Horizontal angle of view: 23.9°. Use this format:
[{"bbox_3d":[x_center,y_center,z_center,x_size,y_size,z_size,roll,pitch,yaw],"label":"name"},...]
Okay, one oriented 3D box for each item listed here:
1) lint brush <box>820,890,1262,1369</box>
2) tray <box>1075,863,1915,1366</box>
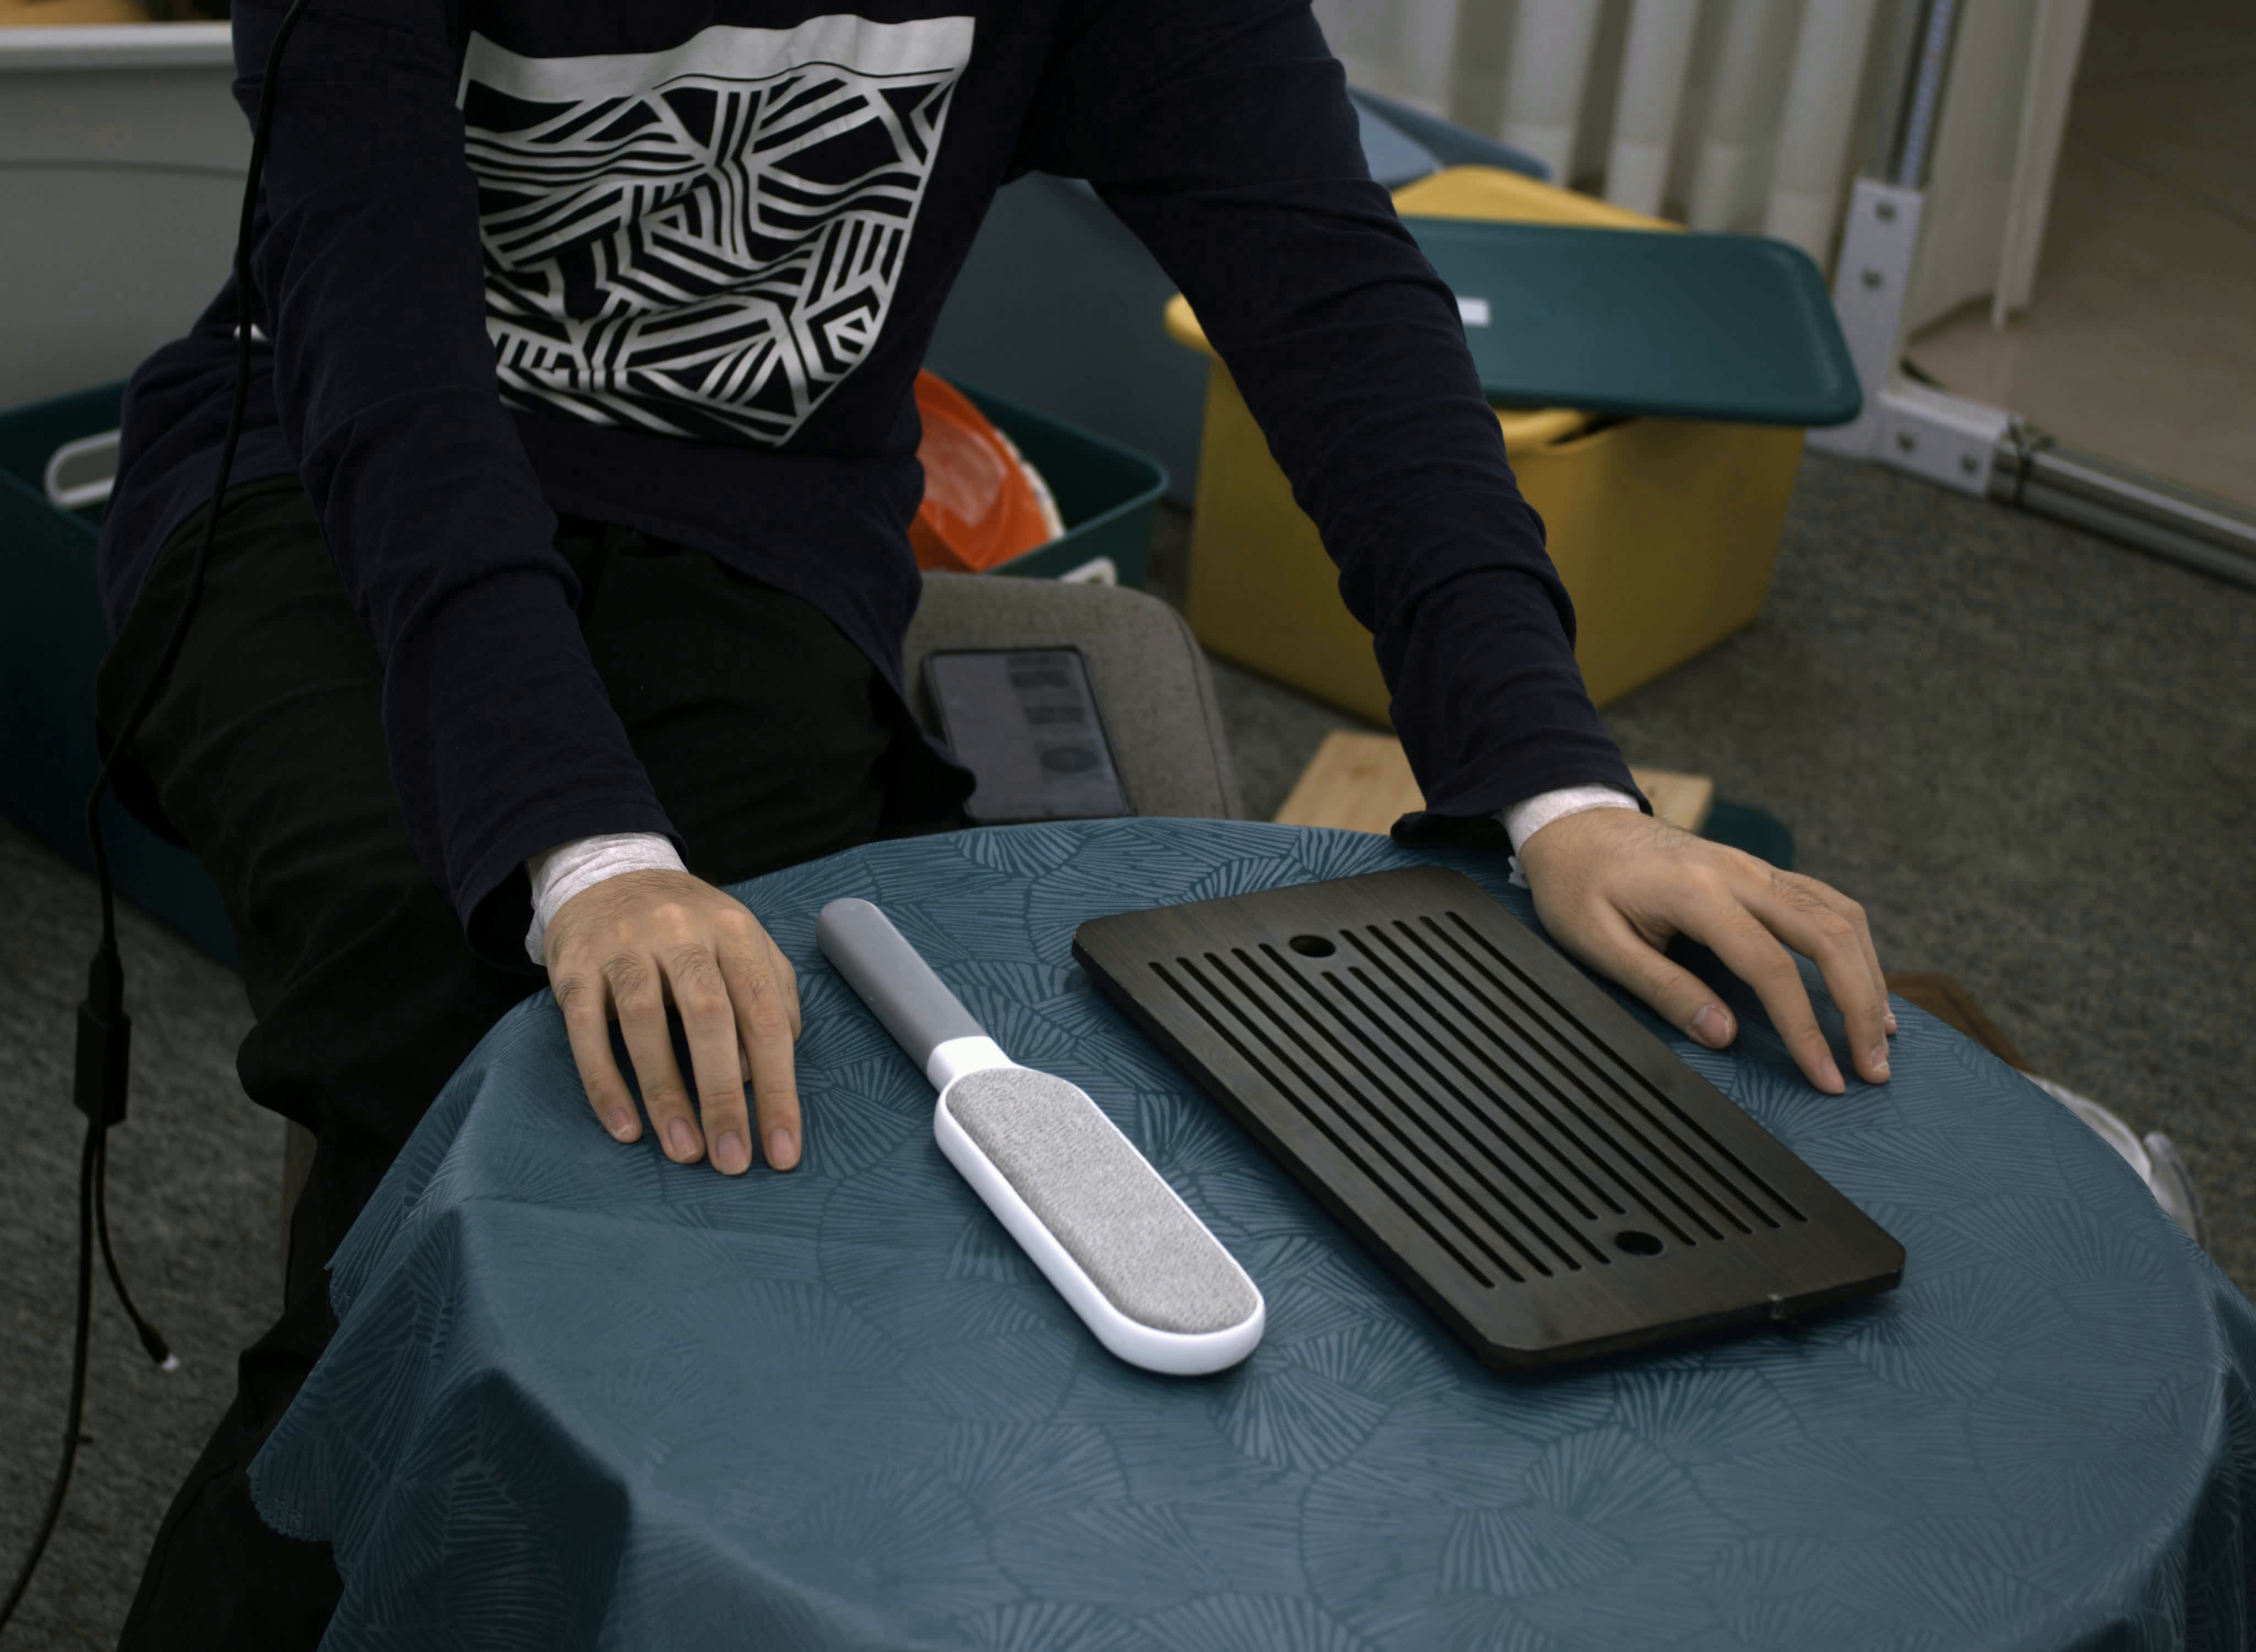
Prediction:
[{"bbox_3d":[-0.037,0.098,1.817,0.060,0.021,0.312,-12,32,-22],"label":"lint brush"},{"bbox_3d":[0.122,0.098,1.866,0.169,0.018,0.309,-9,30,-28],"label":"tray"}]
